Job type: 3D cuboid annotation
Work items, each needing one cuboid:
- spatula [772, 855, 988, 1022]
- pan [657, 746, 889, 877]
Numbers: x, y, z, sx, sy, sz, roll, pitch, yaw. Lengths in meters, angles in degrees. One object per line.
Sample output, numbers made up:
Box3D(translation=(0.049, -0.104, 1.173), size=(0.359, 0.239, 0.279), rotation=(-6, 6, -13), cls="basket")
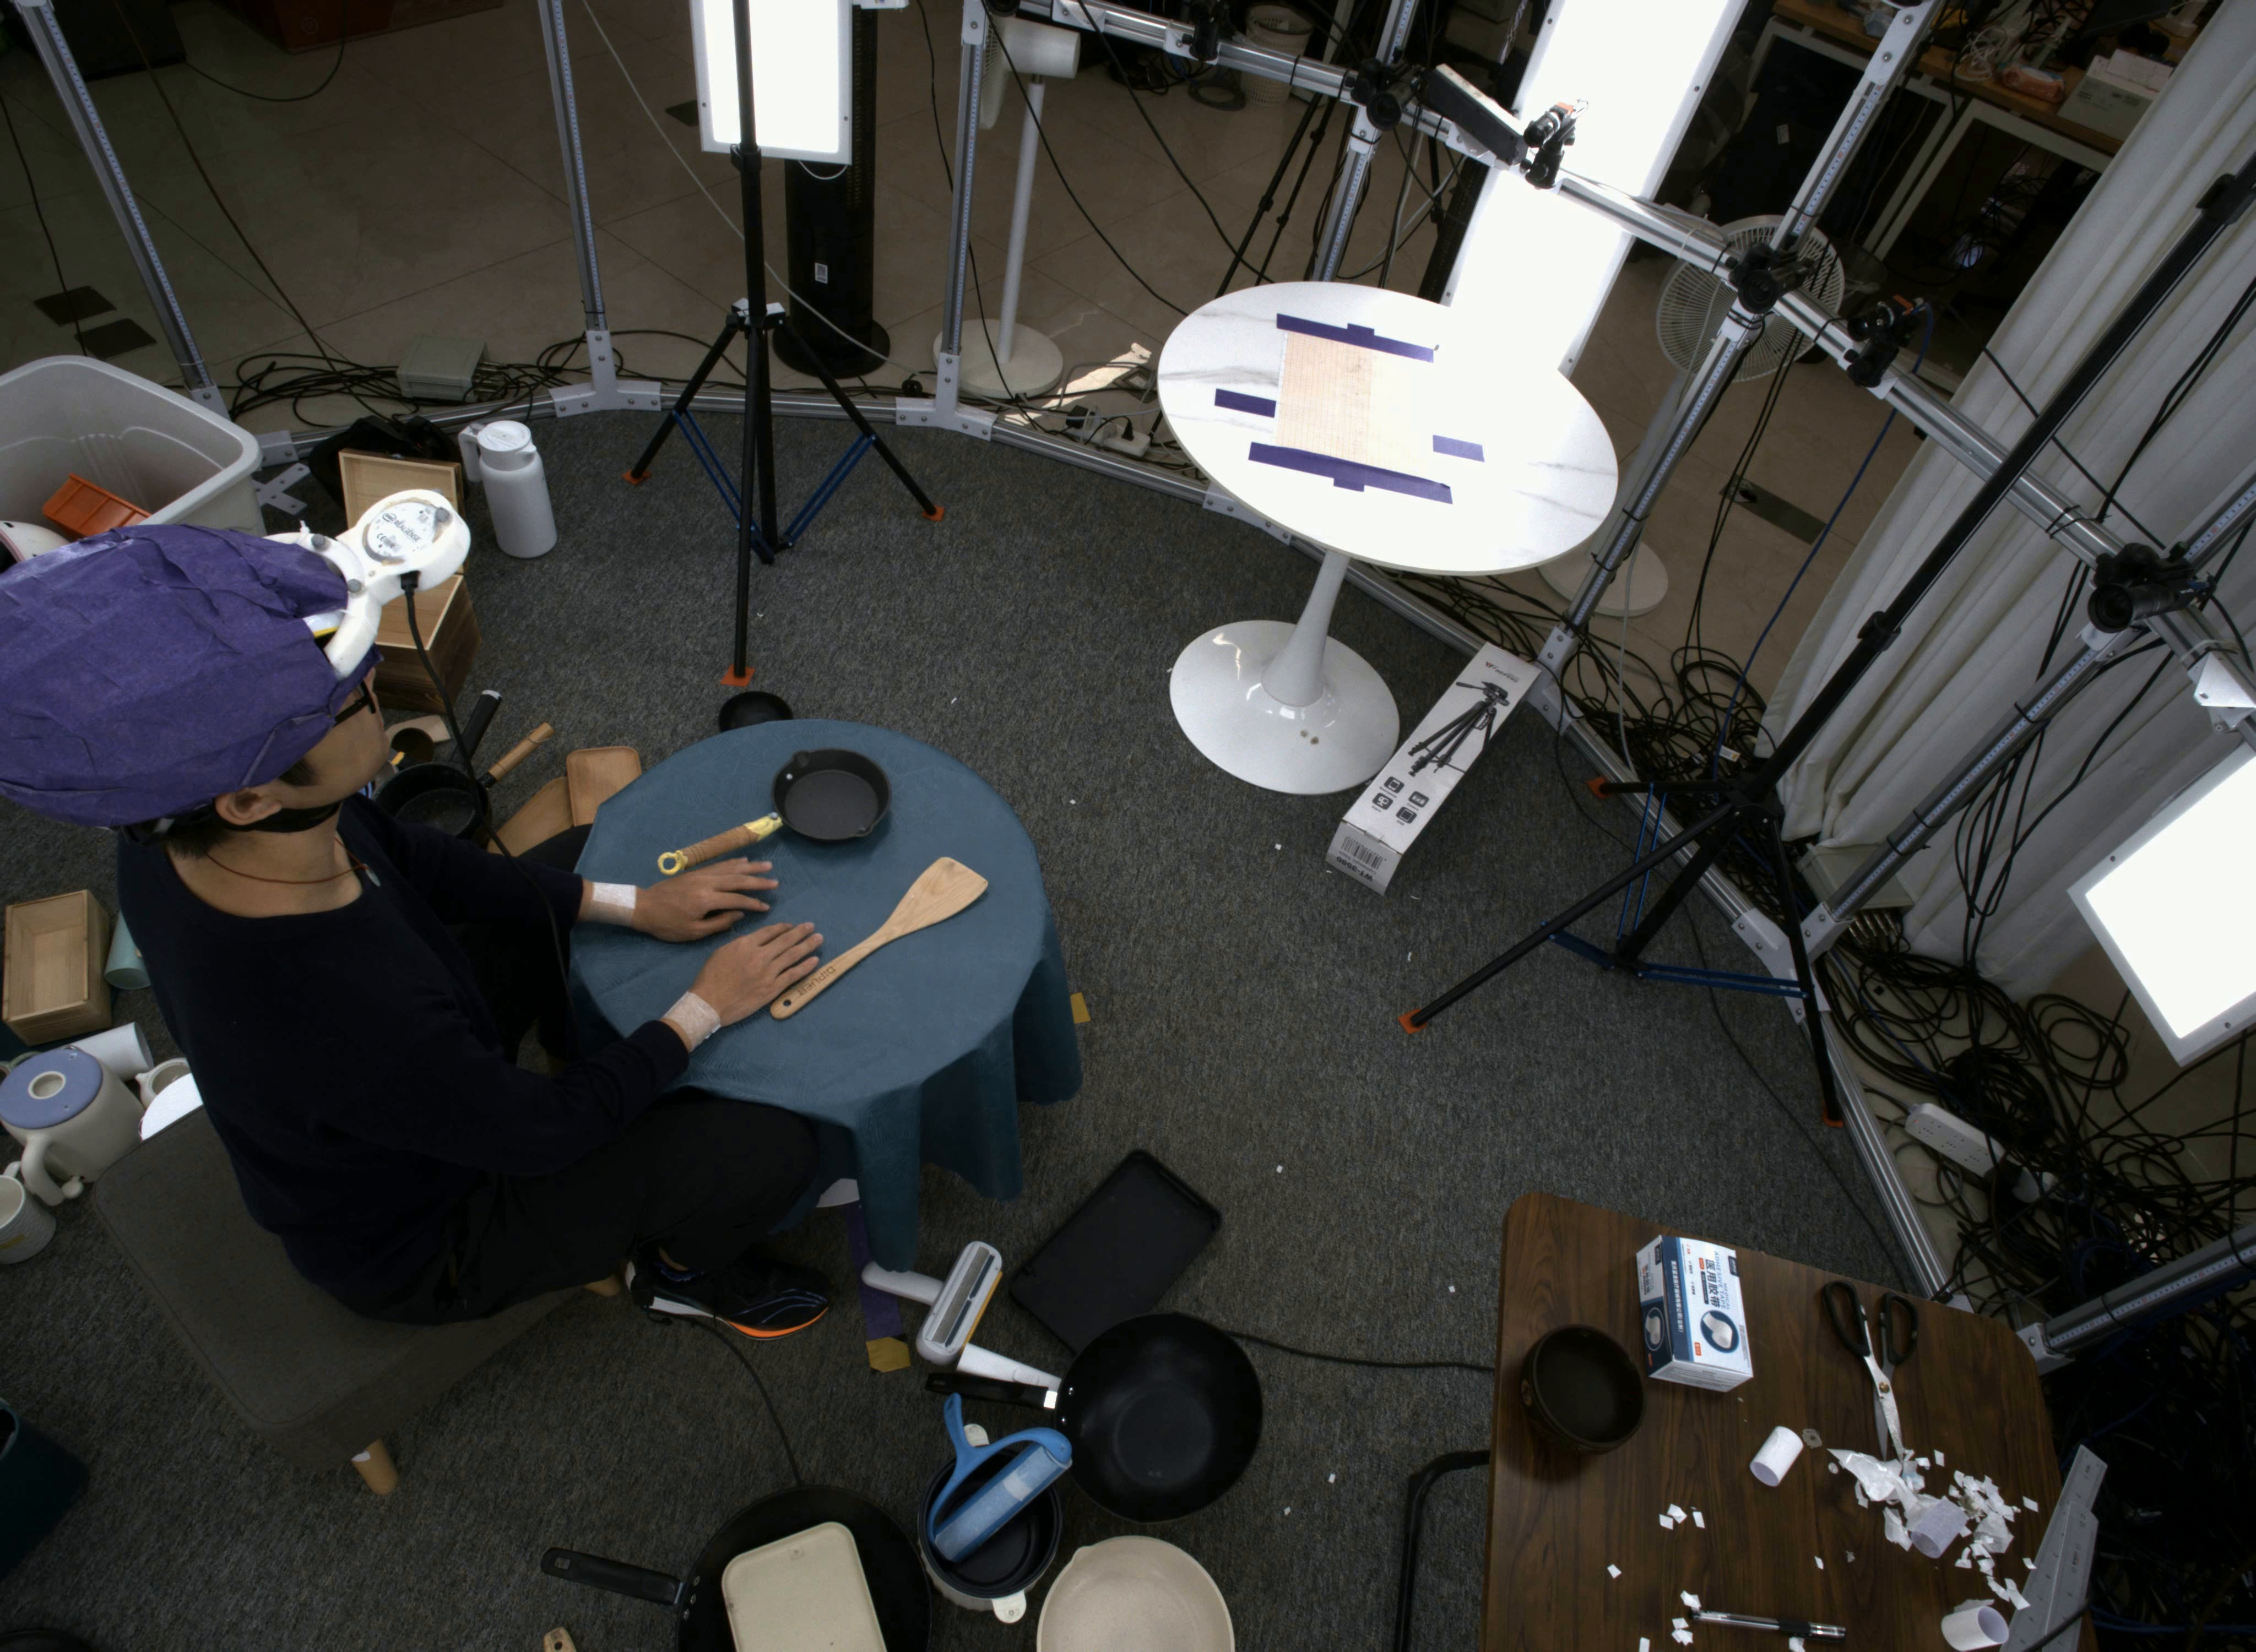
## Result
Box3D(translation=(-0.315, 0.139, 1.629), size=(0.078, 0.017, 0.328), rotation=(40, 54, 17), cls="spatula")
Box3D(translation=(-0.460, -0.007, 1.677), size=(0.326, 0.050, 0.165), rotation=(-28, 64, -32), cls="pan")
